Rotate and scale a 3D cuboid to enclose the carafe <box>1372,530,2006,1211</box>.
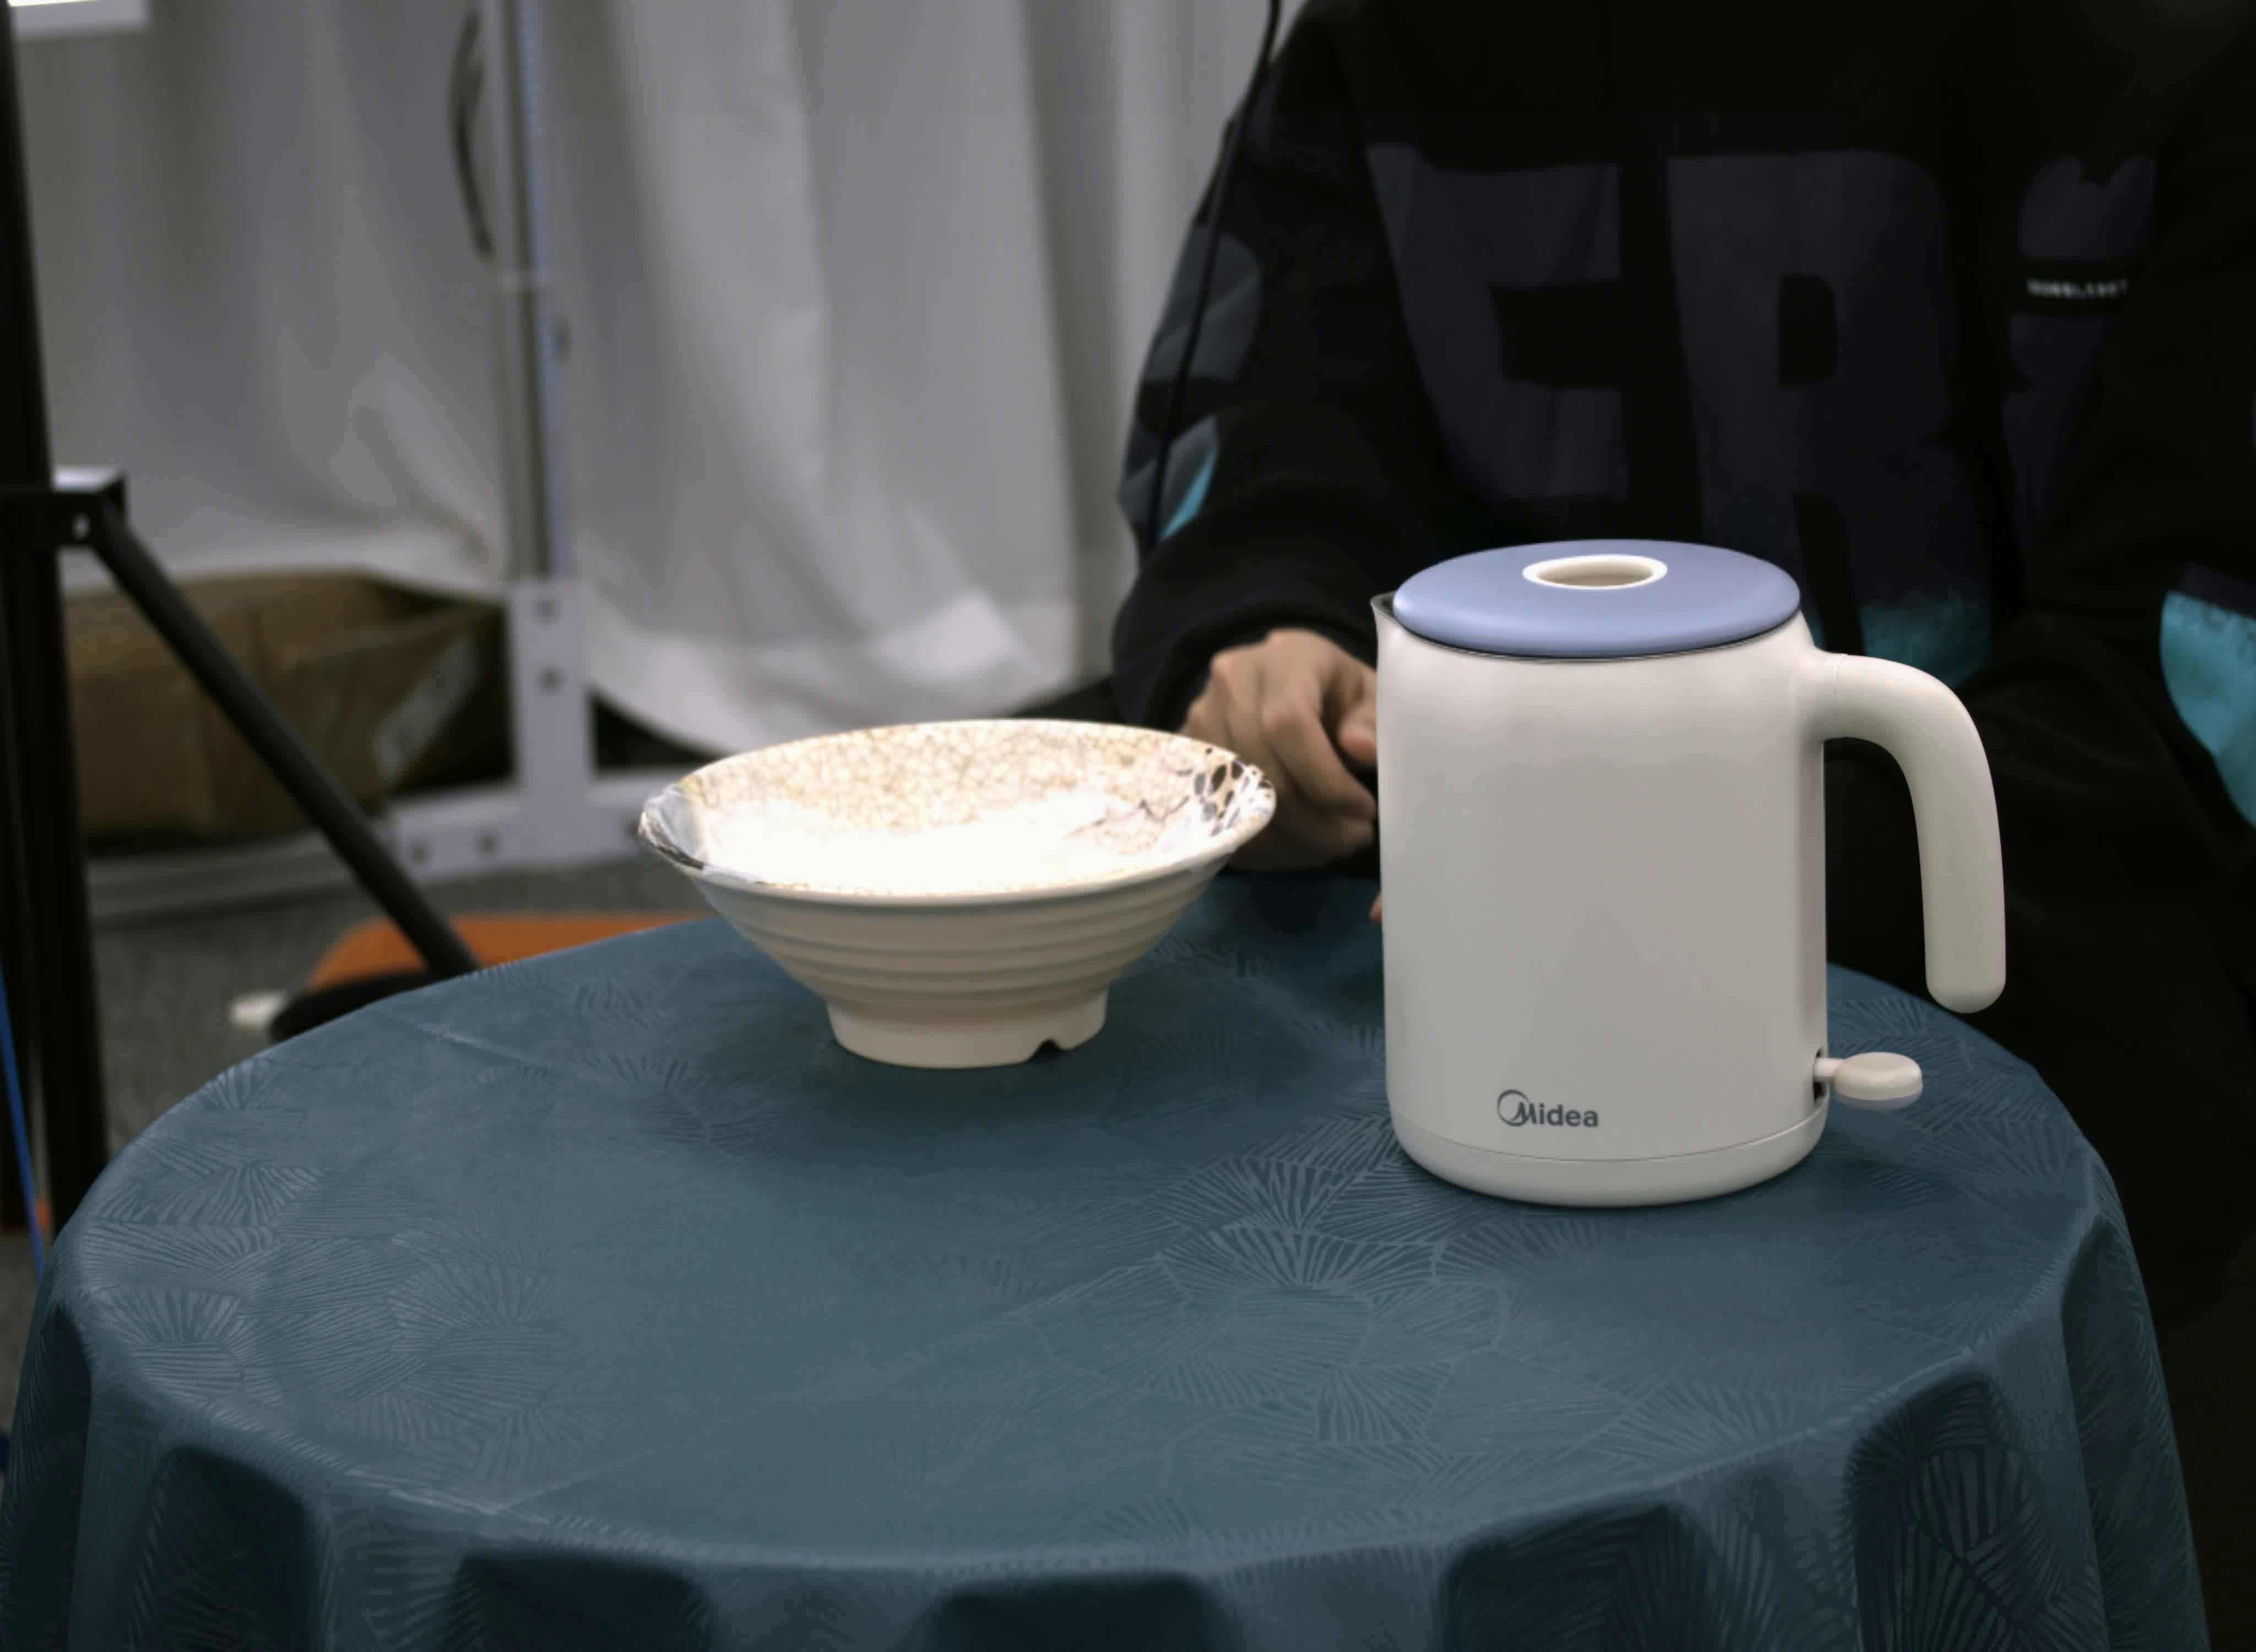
[{"bbox_3d":[0.162,0.015,1.548,0.193,0.182,0.131,6,18,19],"label":"carafe"}]

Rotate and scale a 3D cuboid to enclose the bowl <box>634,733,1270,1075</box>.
[{"bbox_3d":[-0.056,0.031,1.706,0.203,0.078,0.205,-1,14,-1],"label":"bowl"}]
